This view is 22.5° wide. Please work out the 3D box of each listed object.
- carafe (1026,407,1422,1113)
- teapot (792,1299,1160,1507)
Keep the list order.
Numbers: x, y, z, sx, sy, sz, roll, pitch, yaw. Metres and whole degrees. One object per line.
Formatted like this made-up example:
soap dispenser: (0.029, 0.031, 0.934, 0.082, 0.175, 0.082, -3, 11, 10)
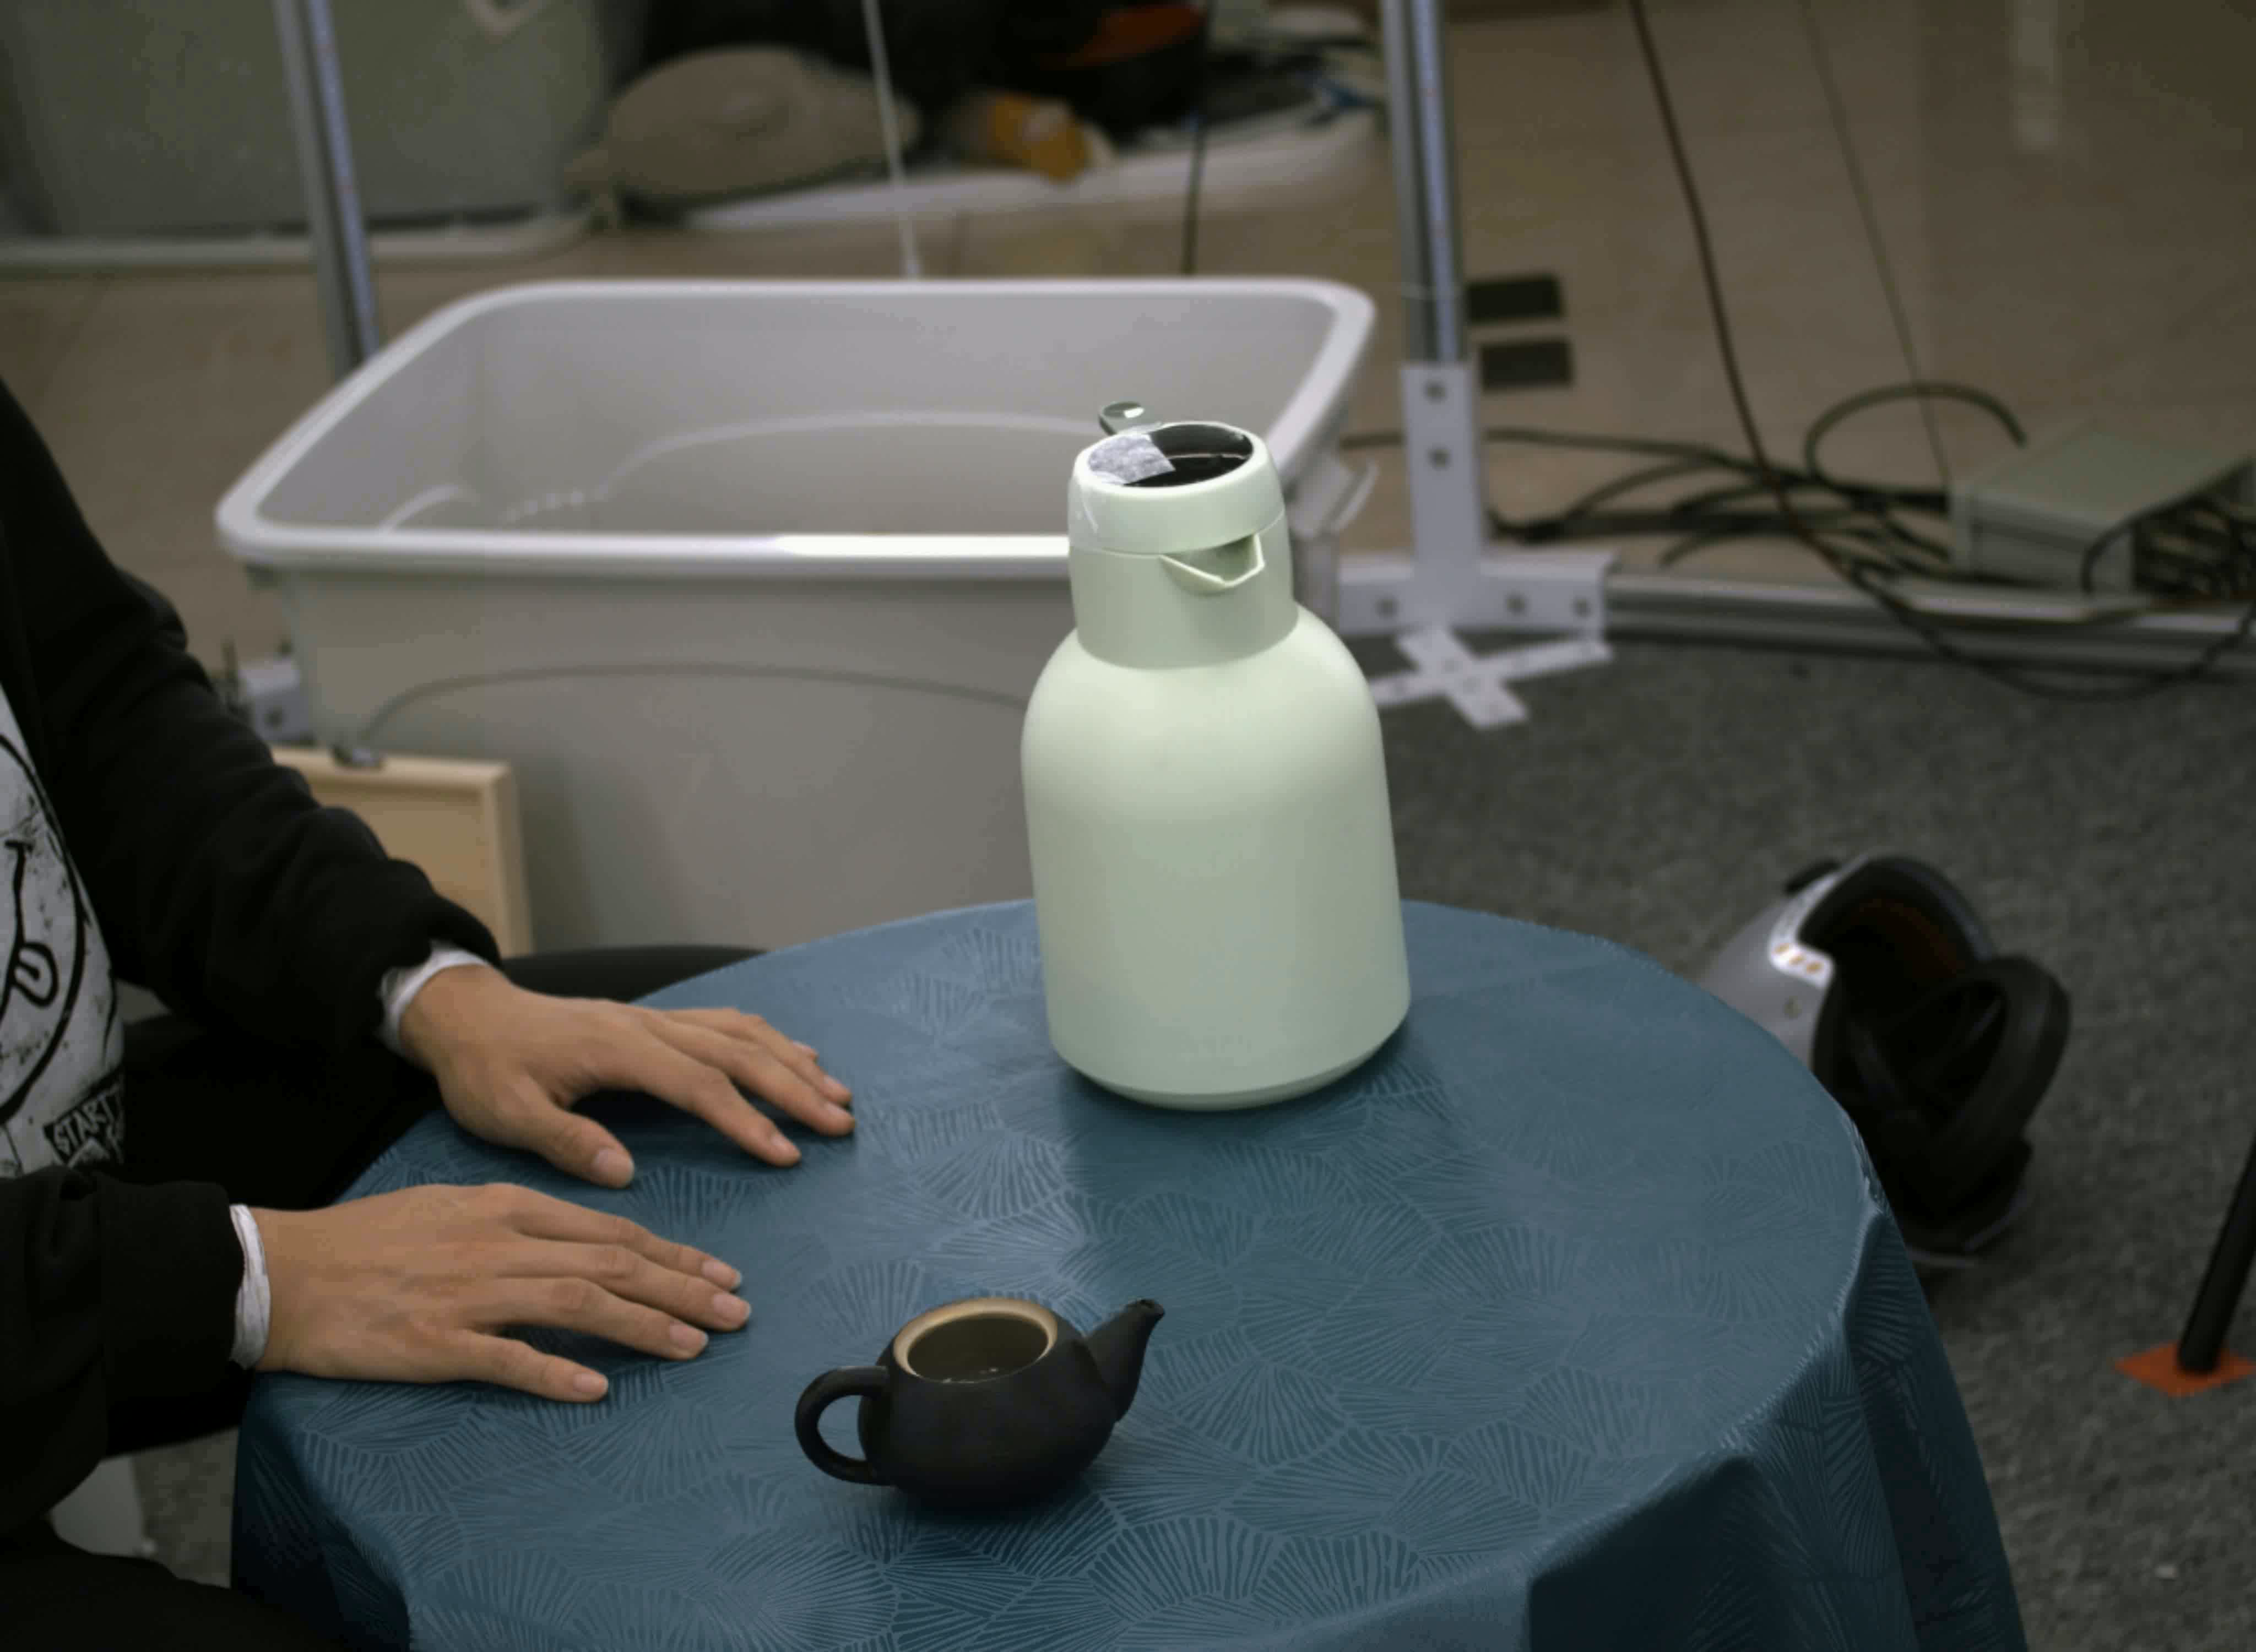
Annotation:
carafe: (0.026, -0.032, 2.210, 0.144, 0.260, 0.184, -15, 24, -15)
teapot: (-0.051, 0.200, 1.967, 0.133, 0.054, 0.090, -11, 24, -11)
